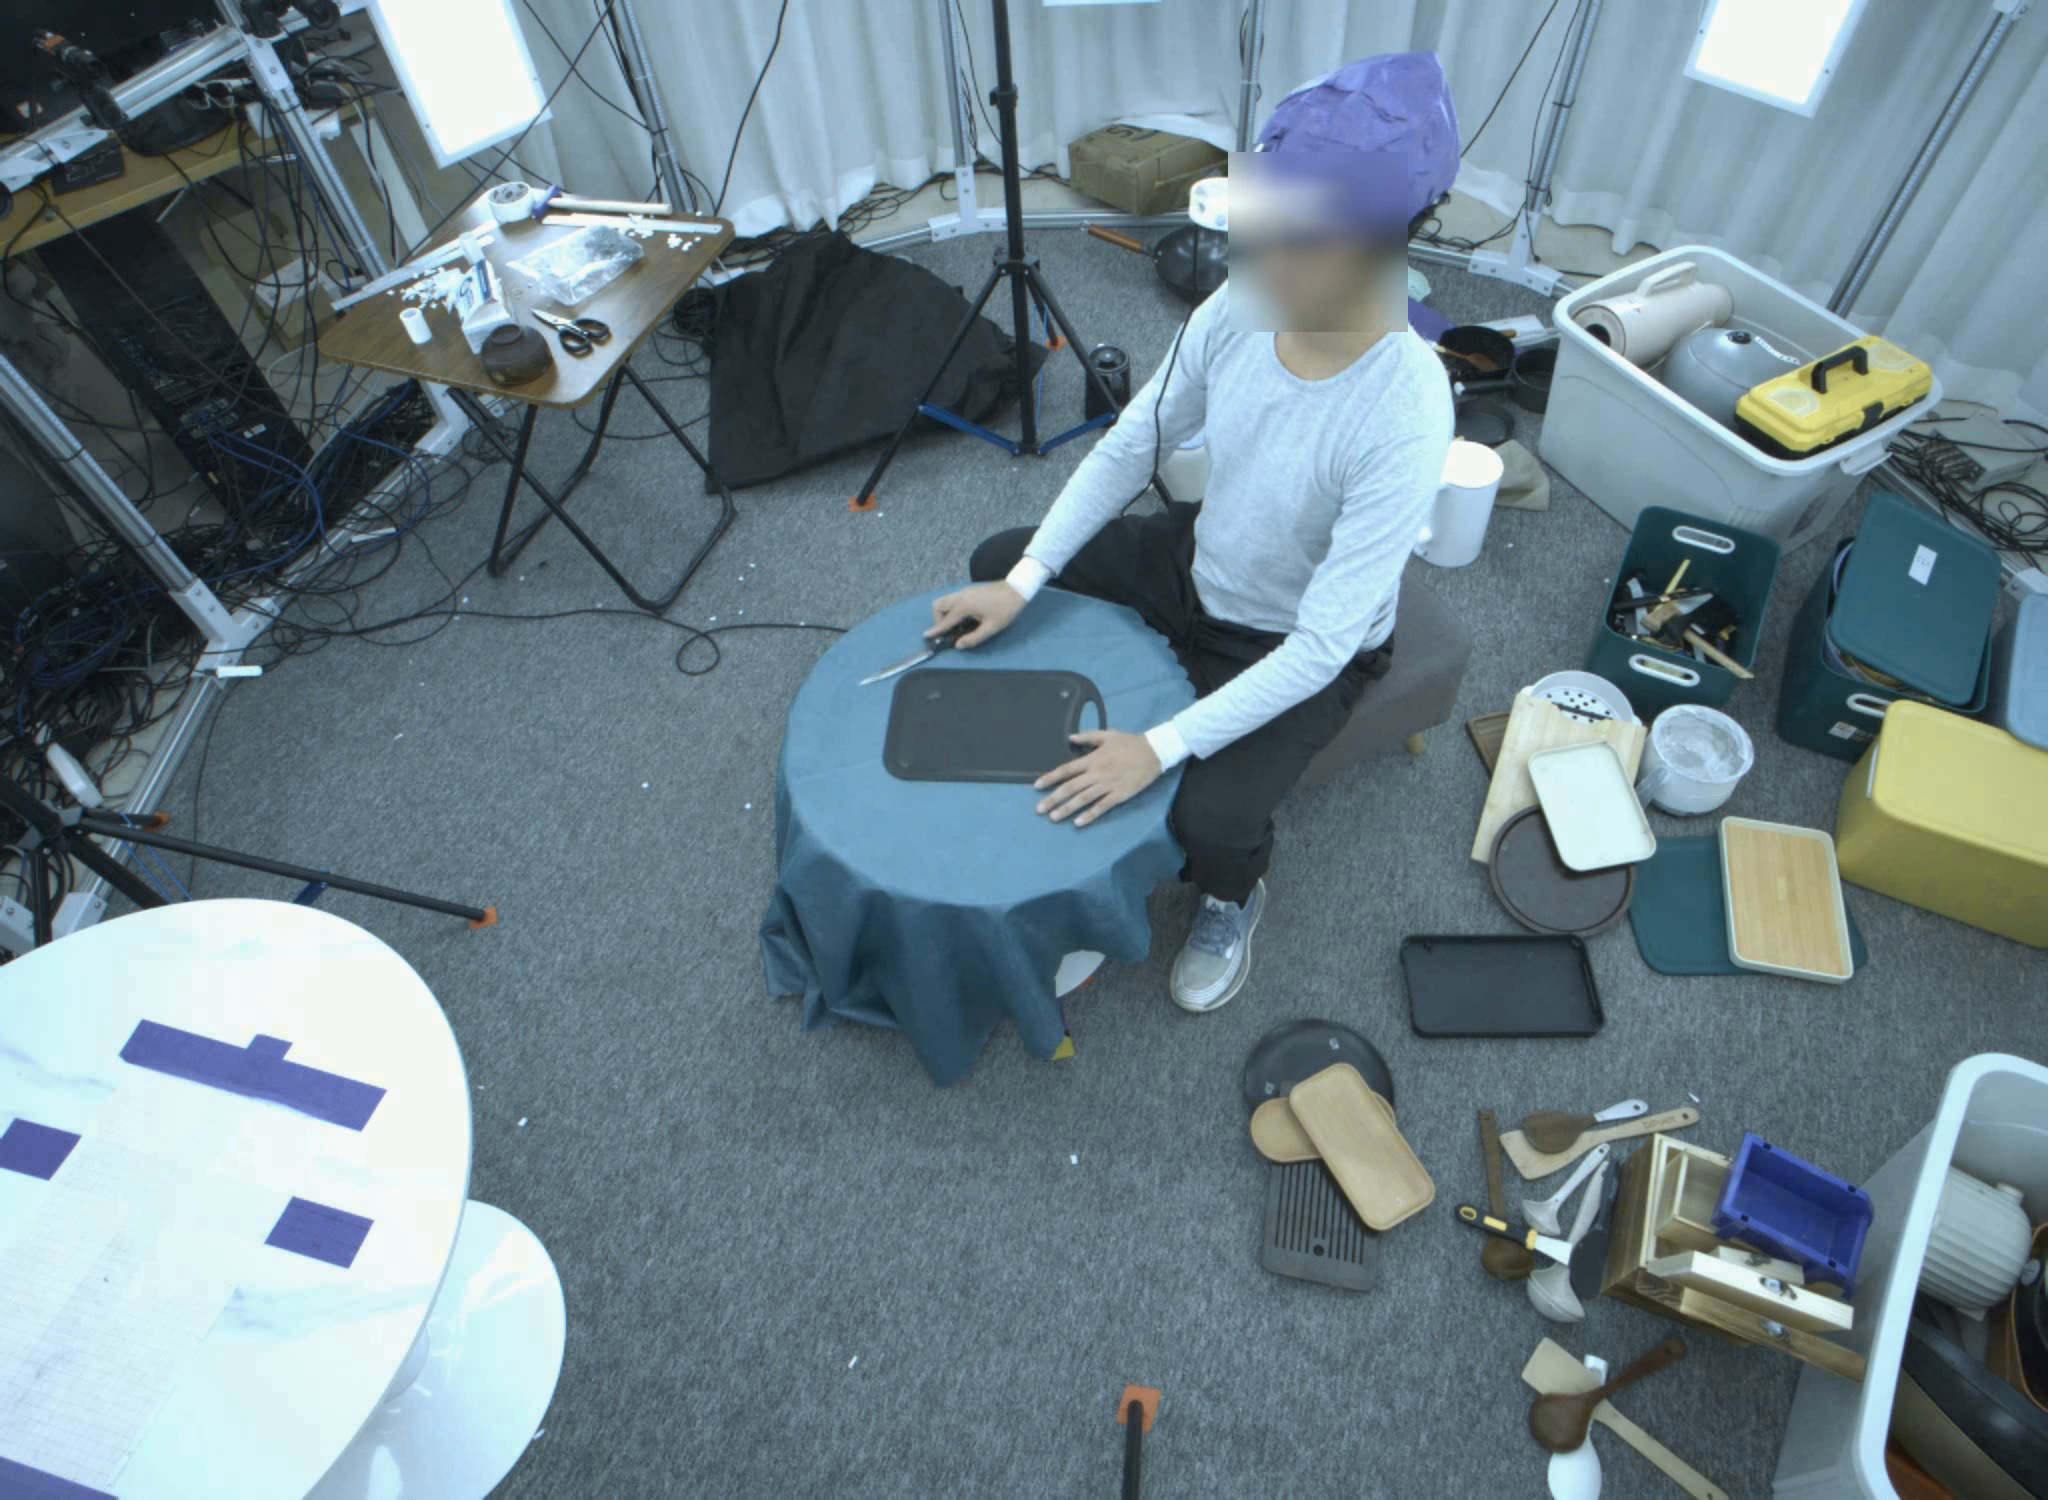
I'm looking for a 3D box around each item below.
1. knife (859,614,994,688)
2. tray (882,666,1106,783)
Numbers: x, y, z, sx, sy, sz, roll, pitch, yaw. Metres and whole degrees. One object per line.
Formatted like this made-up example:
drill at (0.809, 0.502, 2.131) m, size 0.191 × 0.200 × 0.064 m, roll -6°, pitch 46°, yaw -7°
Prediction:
knife at (-0.153, -0.154, 1.902) m, size 0.240 × 0.016 × 0.024 m, roll -29°, pitch 56°, yaw -15°
tray at (-0.041, -0.042, 1.822) m, size 0.325 × 0.010 × 0.209 m, roll 2°, pitch 55°, yaw 3°
